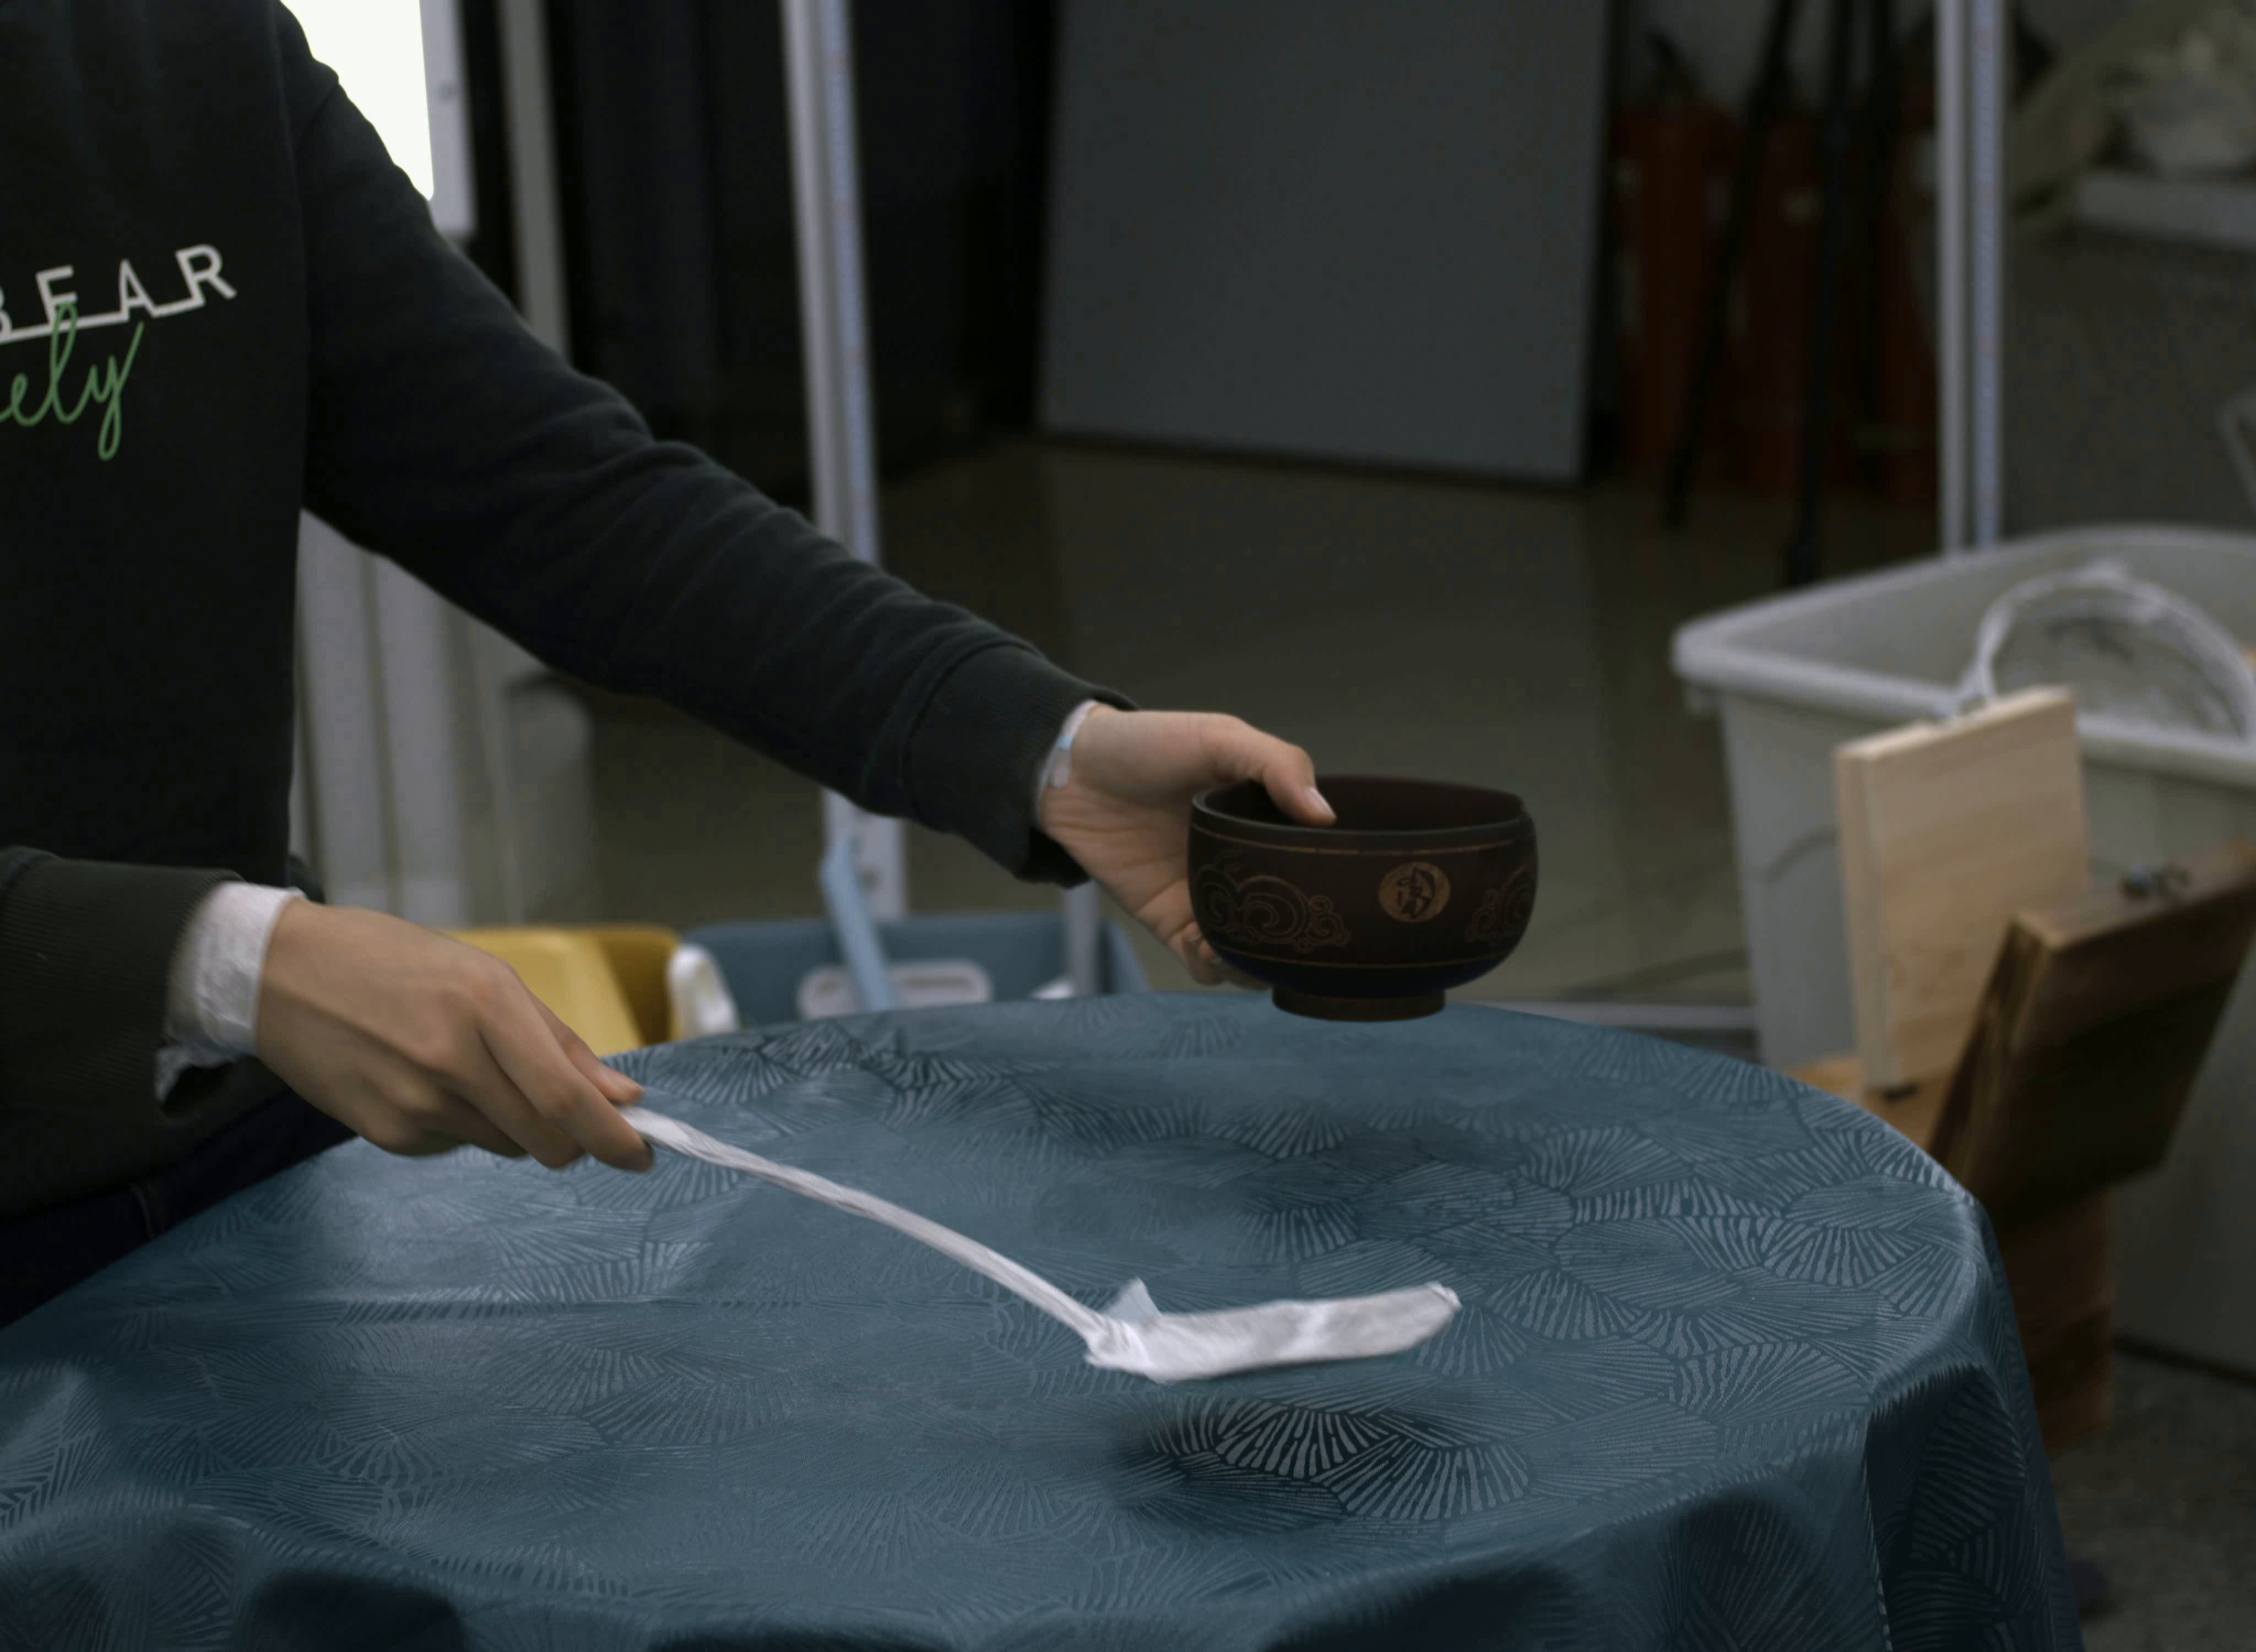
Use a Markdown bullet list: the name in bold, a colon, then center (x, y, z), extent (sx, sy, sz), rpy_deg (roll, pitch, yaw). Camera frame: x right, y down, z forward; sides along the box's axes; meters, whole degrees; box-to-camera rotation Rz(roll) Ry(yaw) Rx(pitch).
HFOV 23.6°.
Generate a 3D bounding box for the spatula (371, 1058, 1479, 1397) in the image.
- **spatula**: center (-0.072, 0.109, 1.576), extent (0.365, 0.045, 0.097), rpy_deg (19, 16, 23)

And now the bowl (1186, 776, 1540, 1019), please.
- **bowl**: center (0.077, 0.025, 1.763), extent (0.116, 0.071, 0.118), rpy_deg (0, 6, -1)
